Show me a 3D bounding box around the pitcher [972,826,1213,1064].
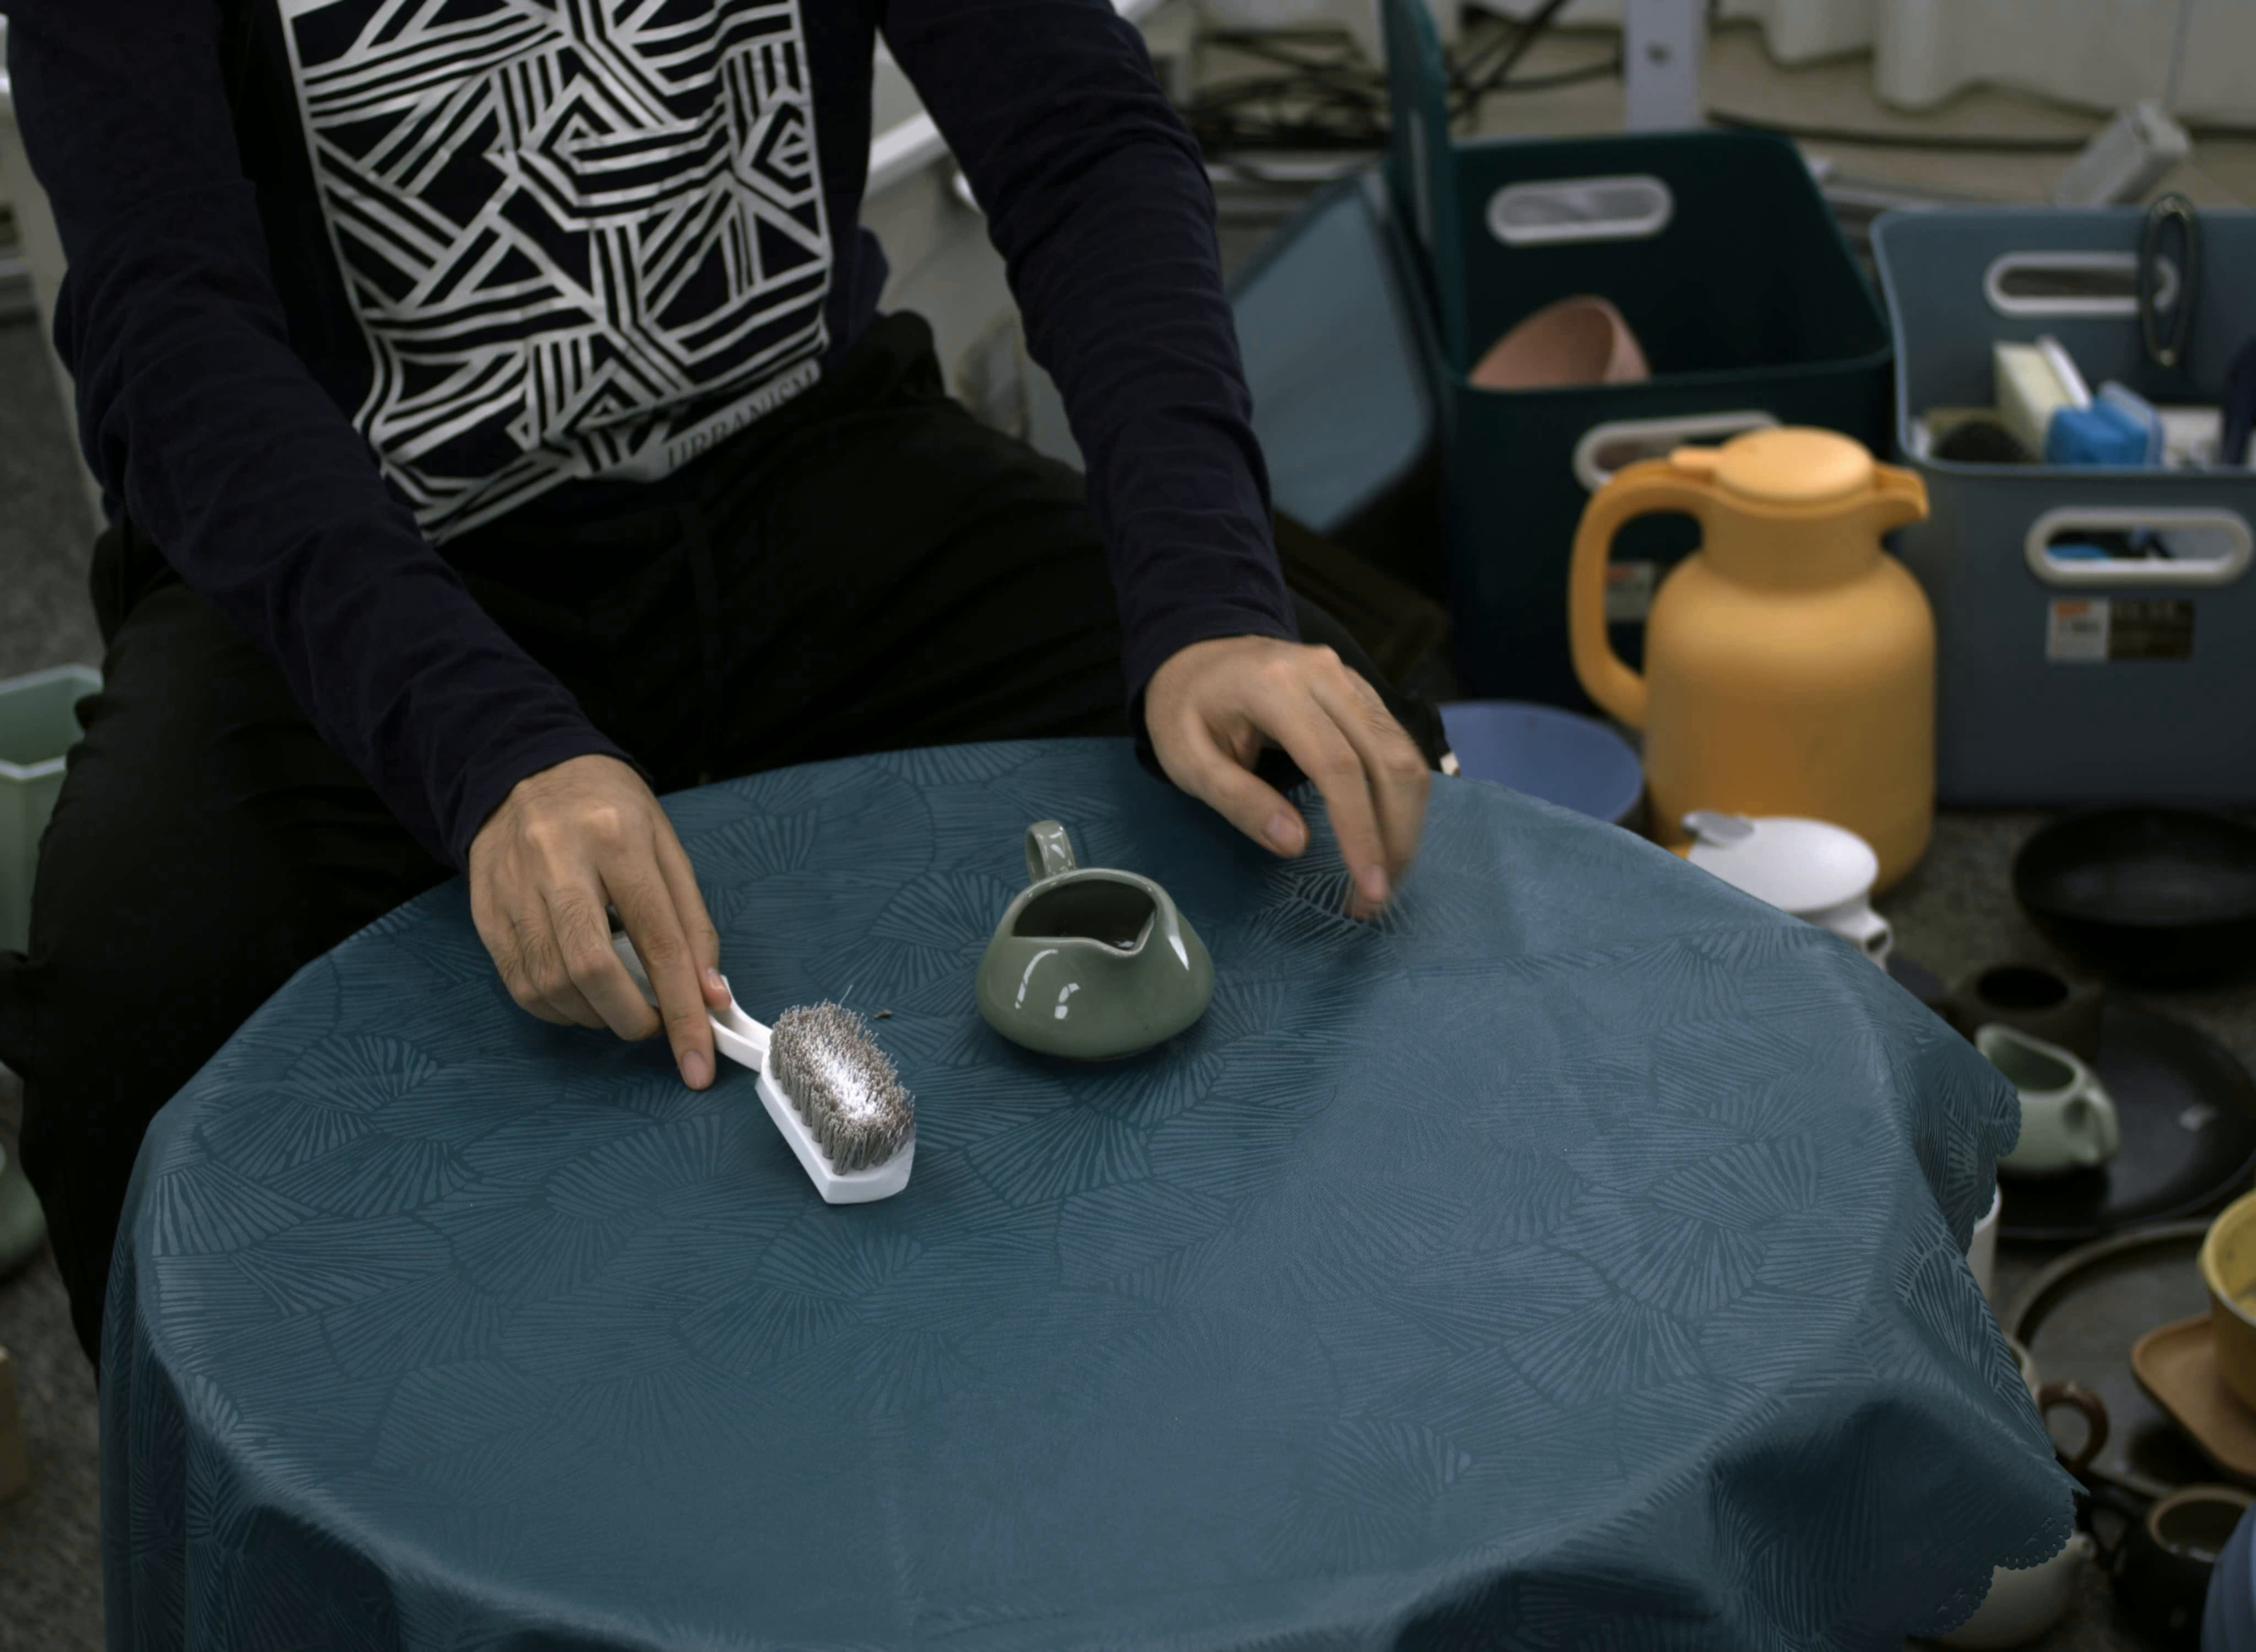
[{"bbox_3d":[-0.015,0.043,1.953,0.084,0.055,0.113,-11,27,-19],"label":"pitcher"}]

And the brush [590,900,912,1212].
[{"bbox_3d":[-0.136,0.062,1.938,0.034,0.050,0.245,-16,30,-21],"label":"brush"}]
